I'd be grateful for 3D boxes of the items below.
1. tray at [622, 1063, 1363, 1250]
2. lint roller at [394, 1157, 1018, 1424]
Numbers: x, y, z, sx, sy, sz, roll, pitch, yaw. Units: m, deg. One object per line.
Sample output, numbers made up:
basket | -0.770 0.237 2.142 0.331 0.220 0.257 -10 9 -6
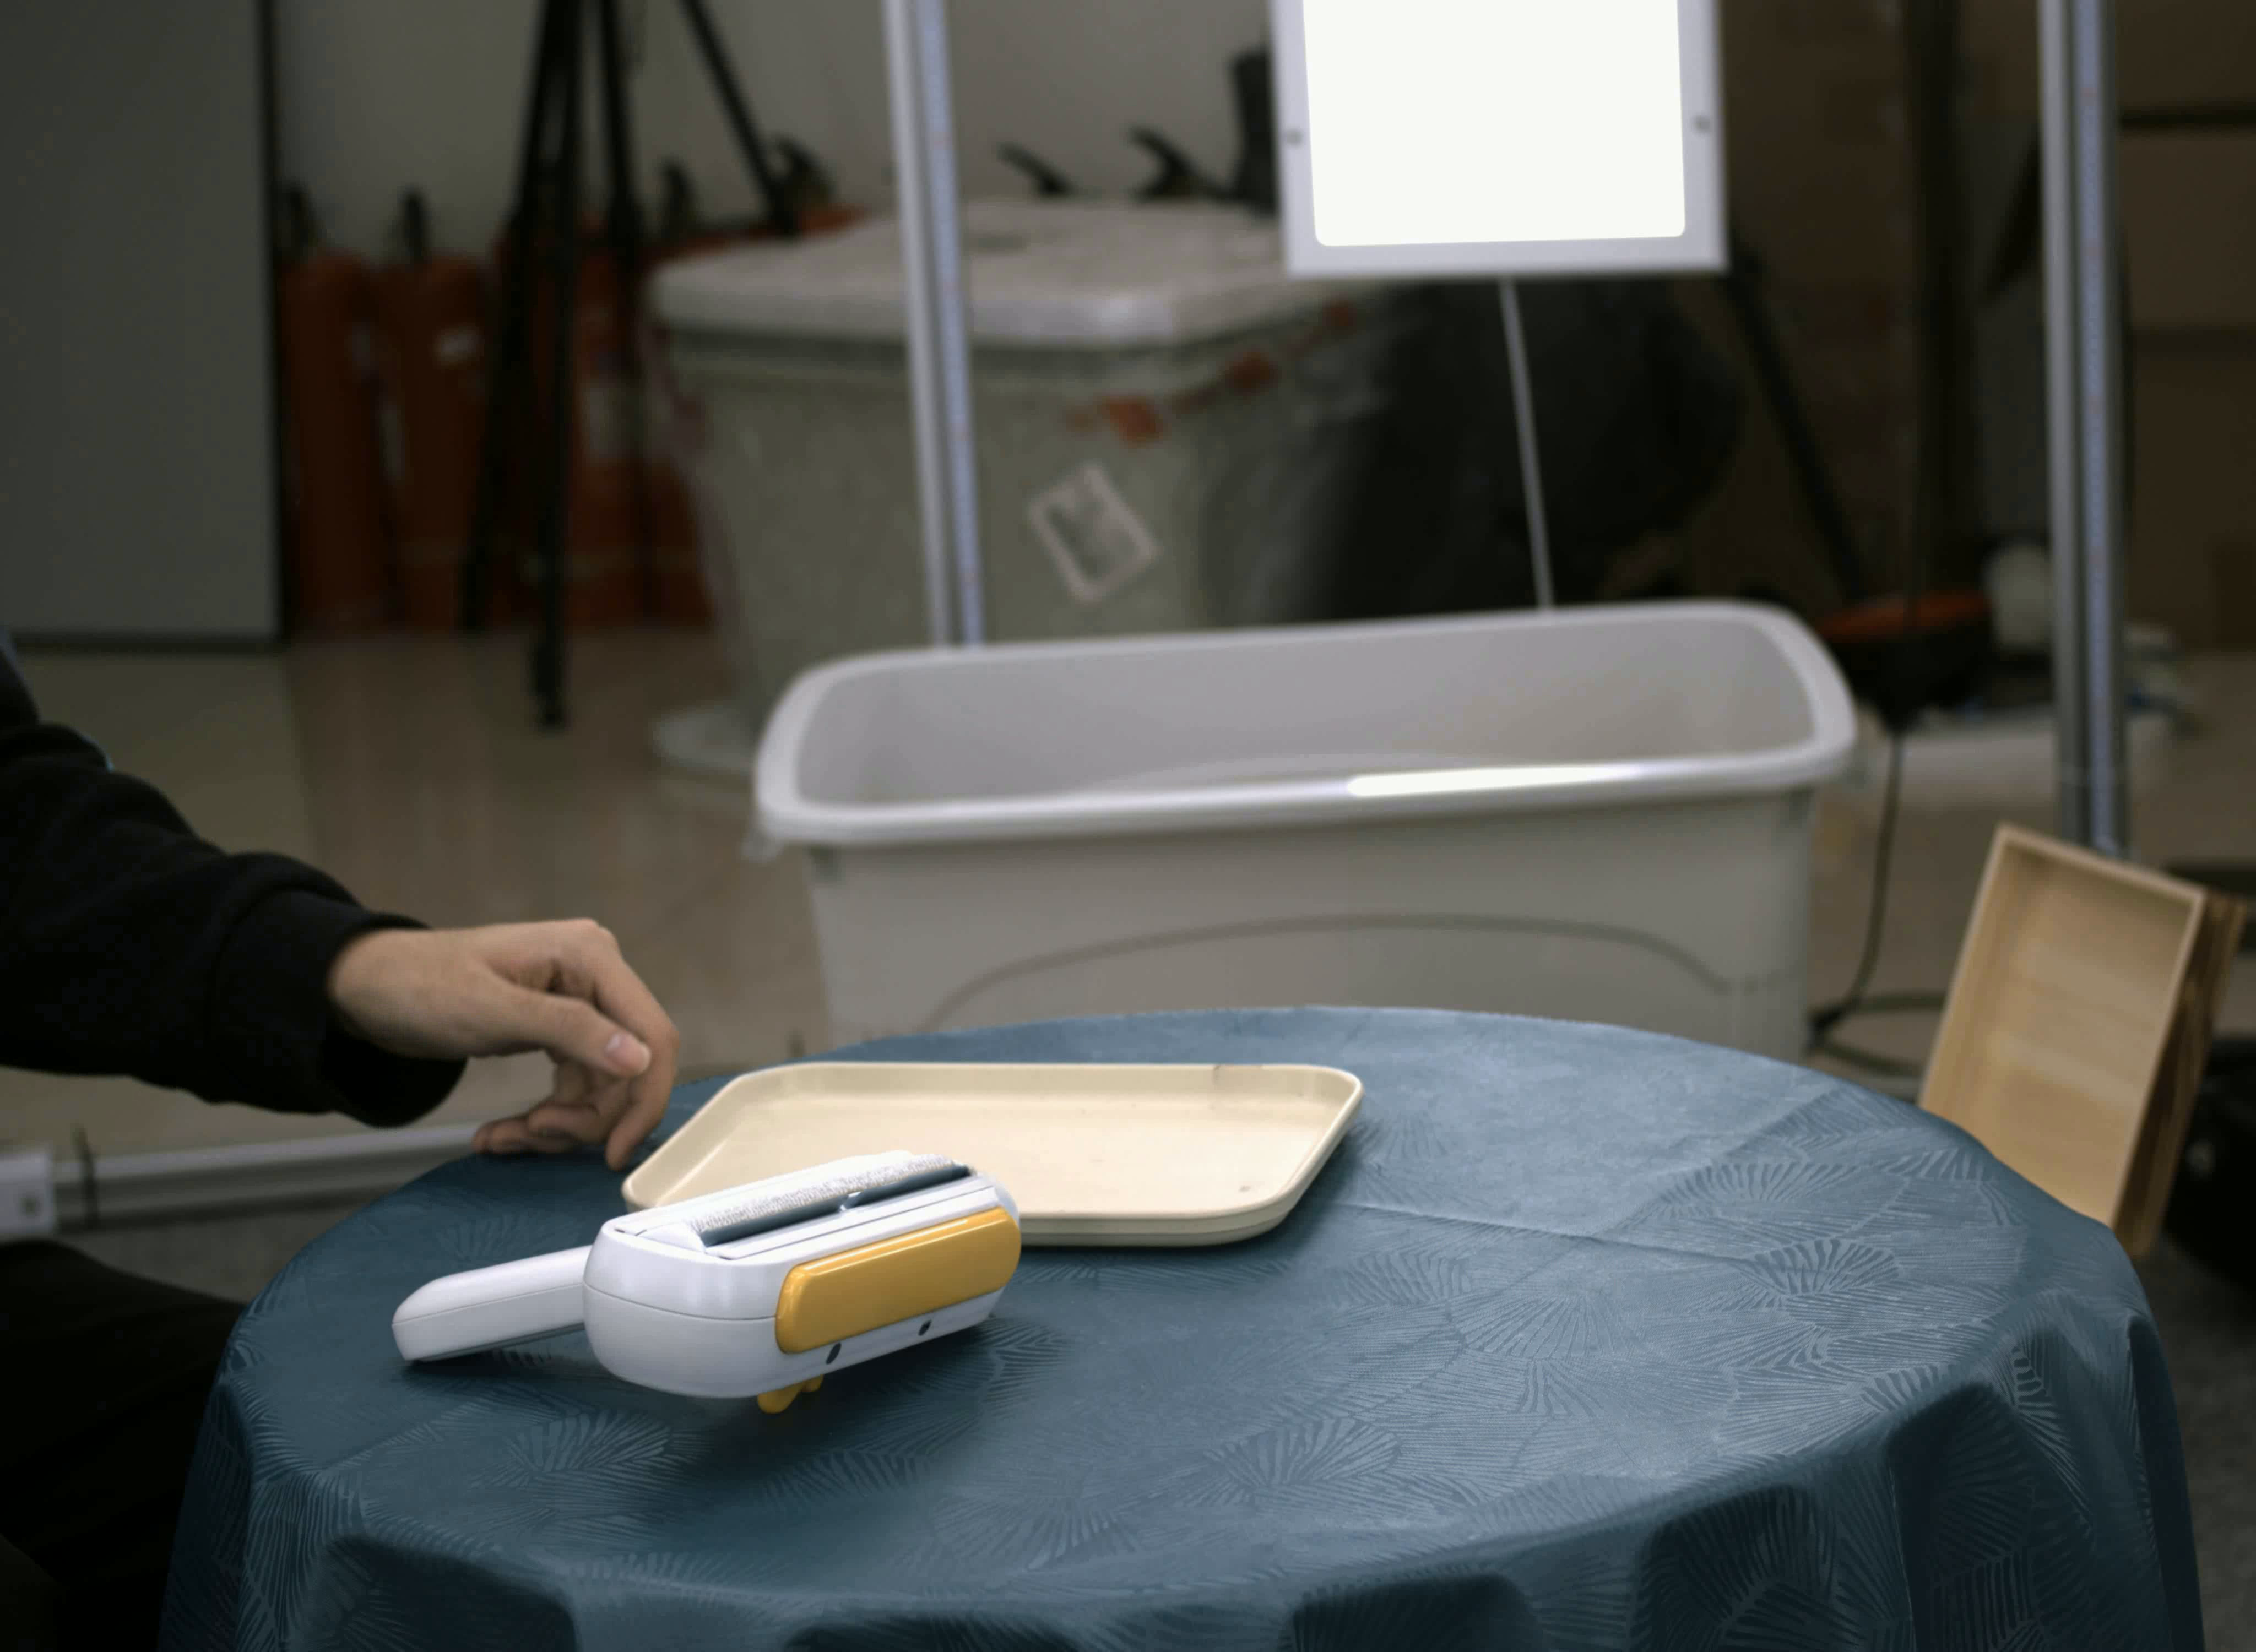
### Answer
tray | -0.045 0.115 1.920 0.242 0.017 0.169 -1 15 17
lint roller | -0.152 0.144 1.738 0.196 0.074 0.188 2 10 33
